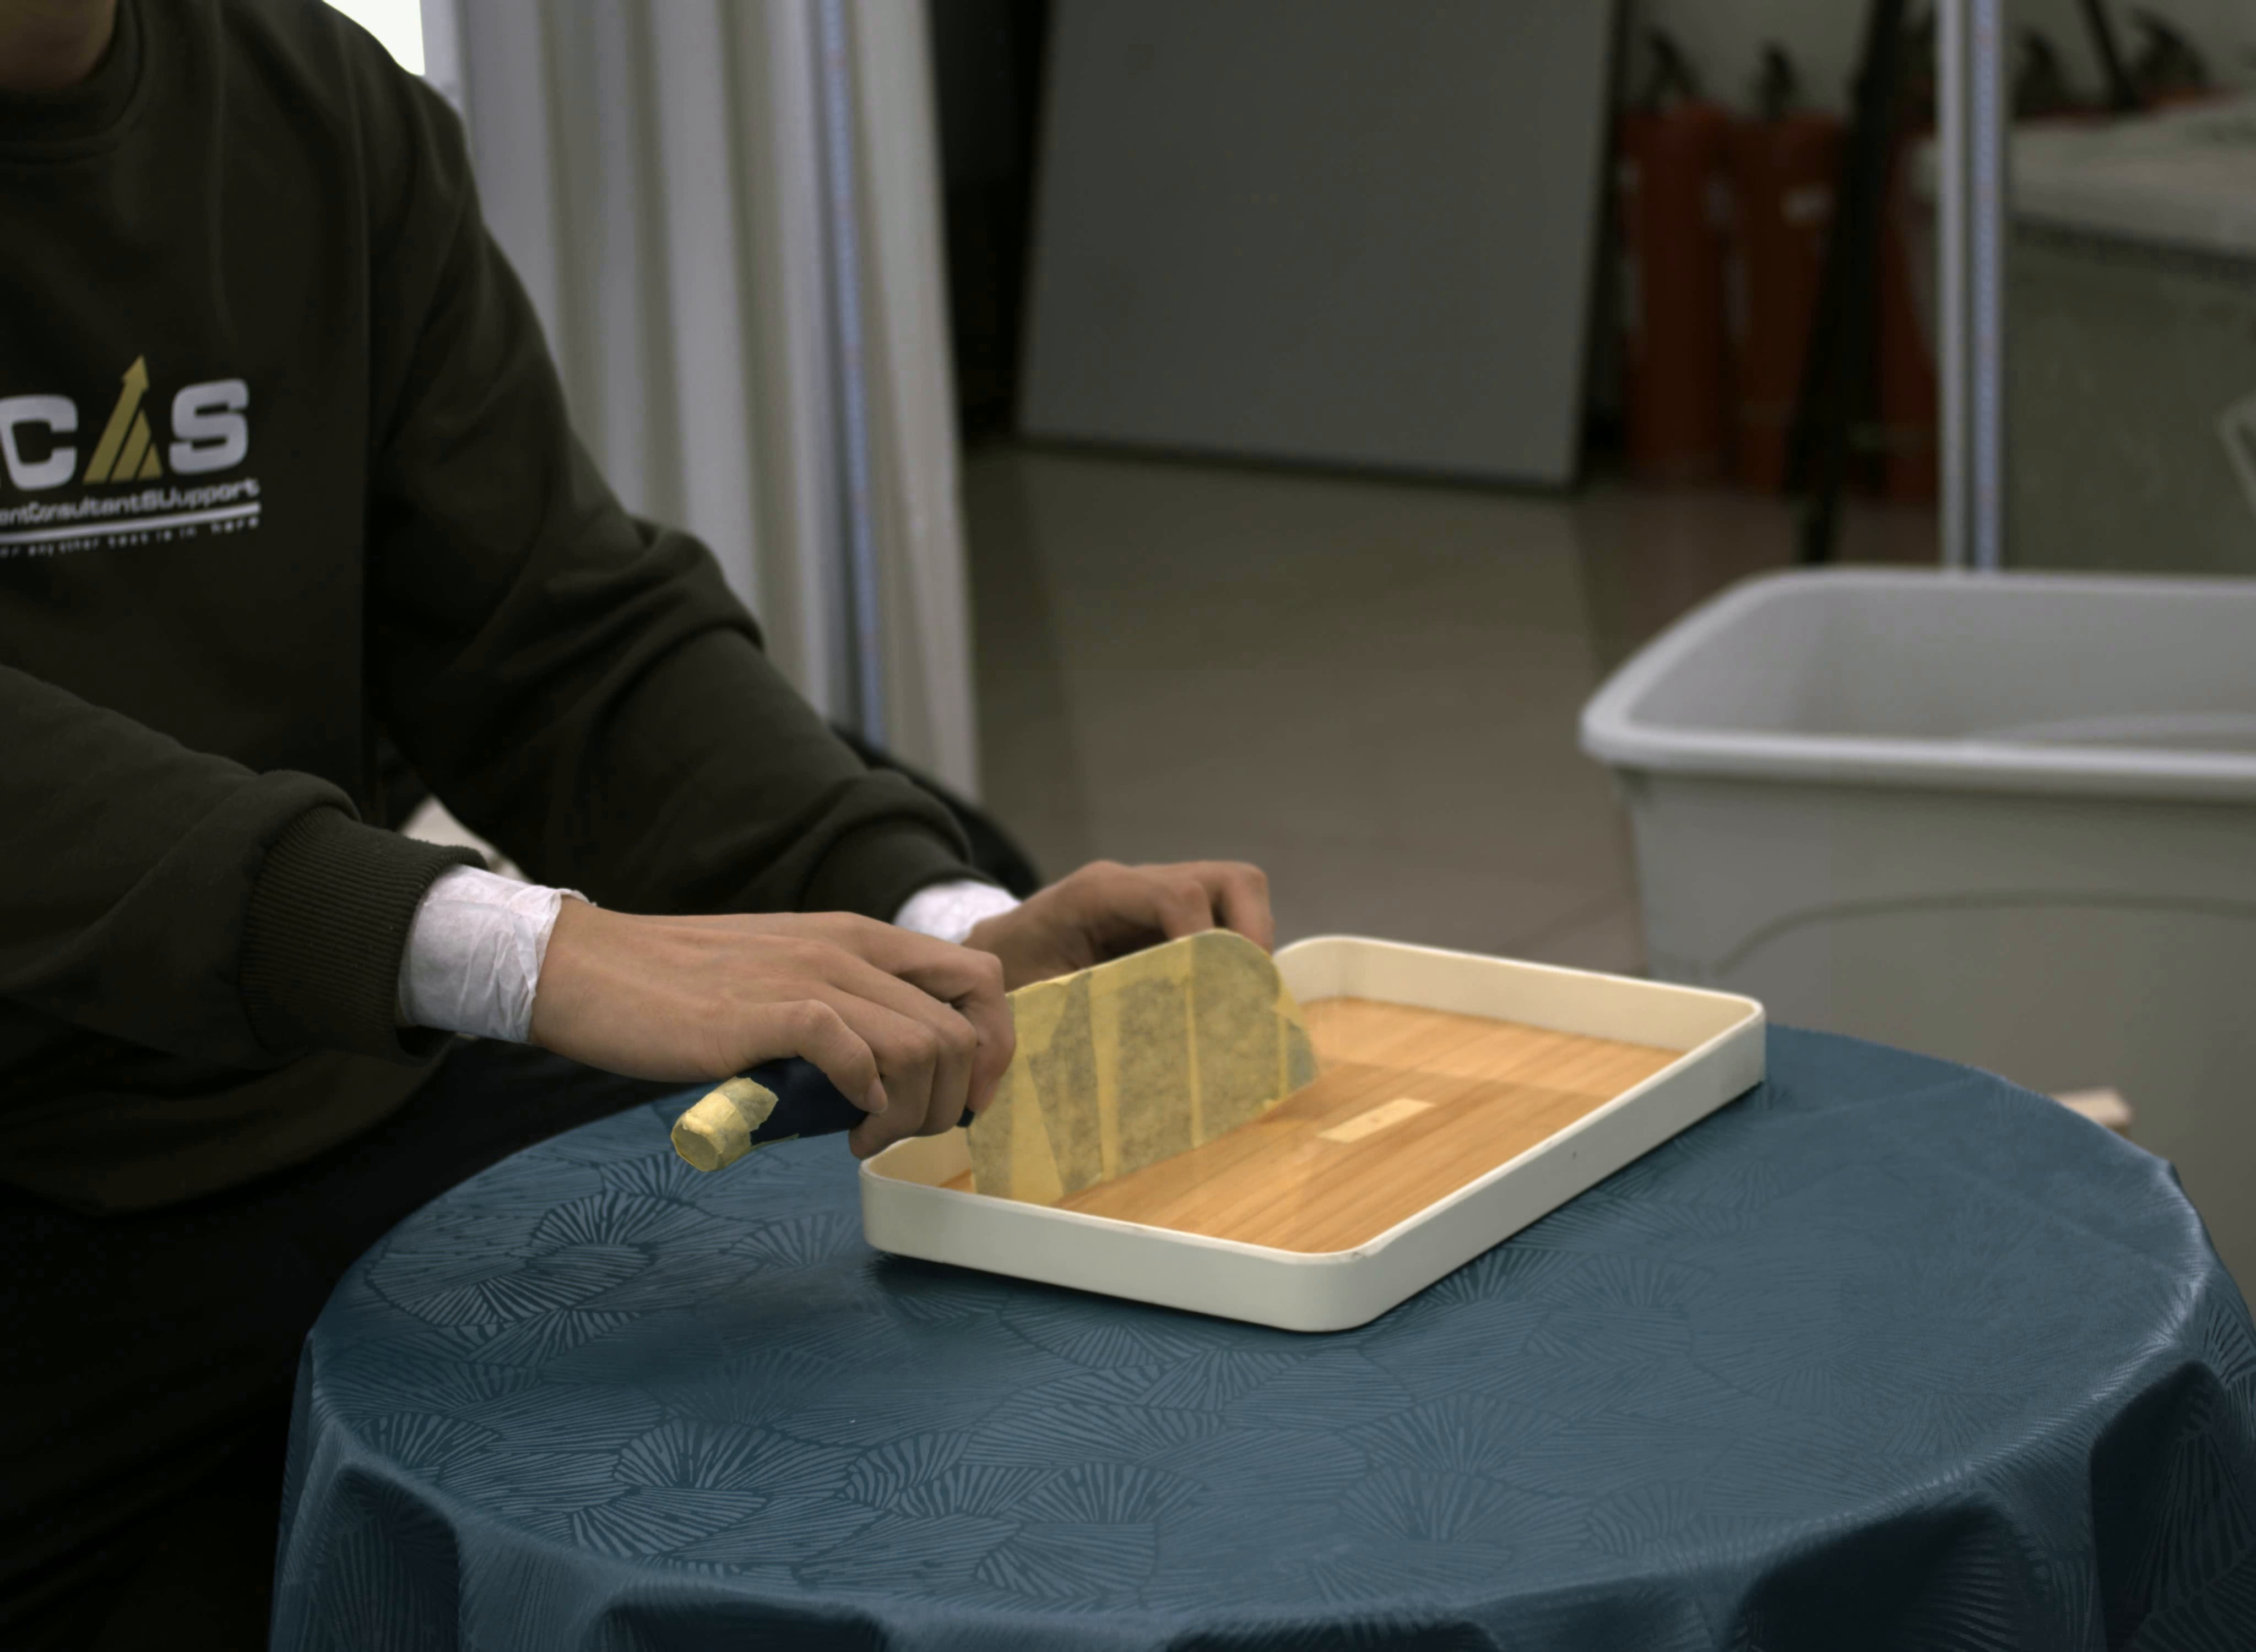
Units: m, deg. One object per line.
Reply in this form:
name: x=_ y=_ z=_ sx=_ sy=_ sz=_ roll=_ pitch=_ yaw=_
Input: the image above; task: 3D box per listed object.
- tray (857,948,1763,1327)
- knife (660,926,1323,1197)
tray: x=0.066 y=0.098 z=1.780 sx=0.192 sy=0.028 sz=0.295 roll=6 pitch=17 yaw=34
knife: x=-0.035 y=0.086 z=1.713 sx=0.283 sy=0.082 sz=0.027 roll=-11 pitch=9 yaw=-43
